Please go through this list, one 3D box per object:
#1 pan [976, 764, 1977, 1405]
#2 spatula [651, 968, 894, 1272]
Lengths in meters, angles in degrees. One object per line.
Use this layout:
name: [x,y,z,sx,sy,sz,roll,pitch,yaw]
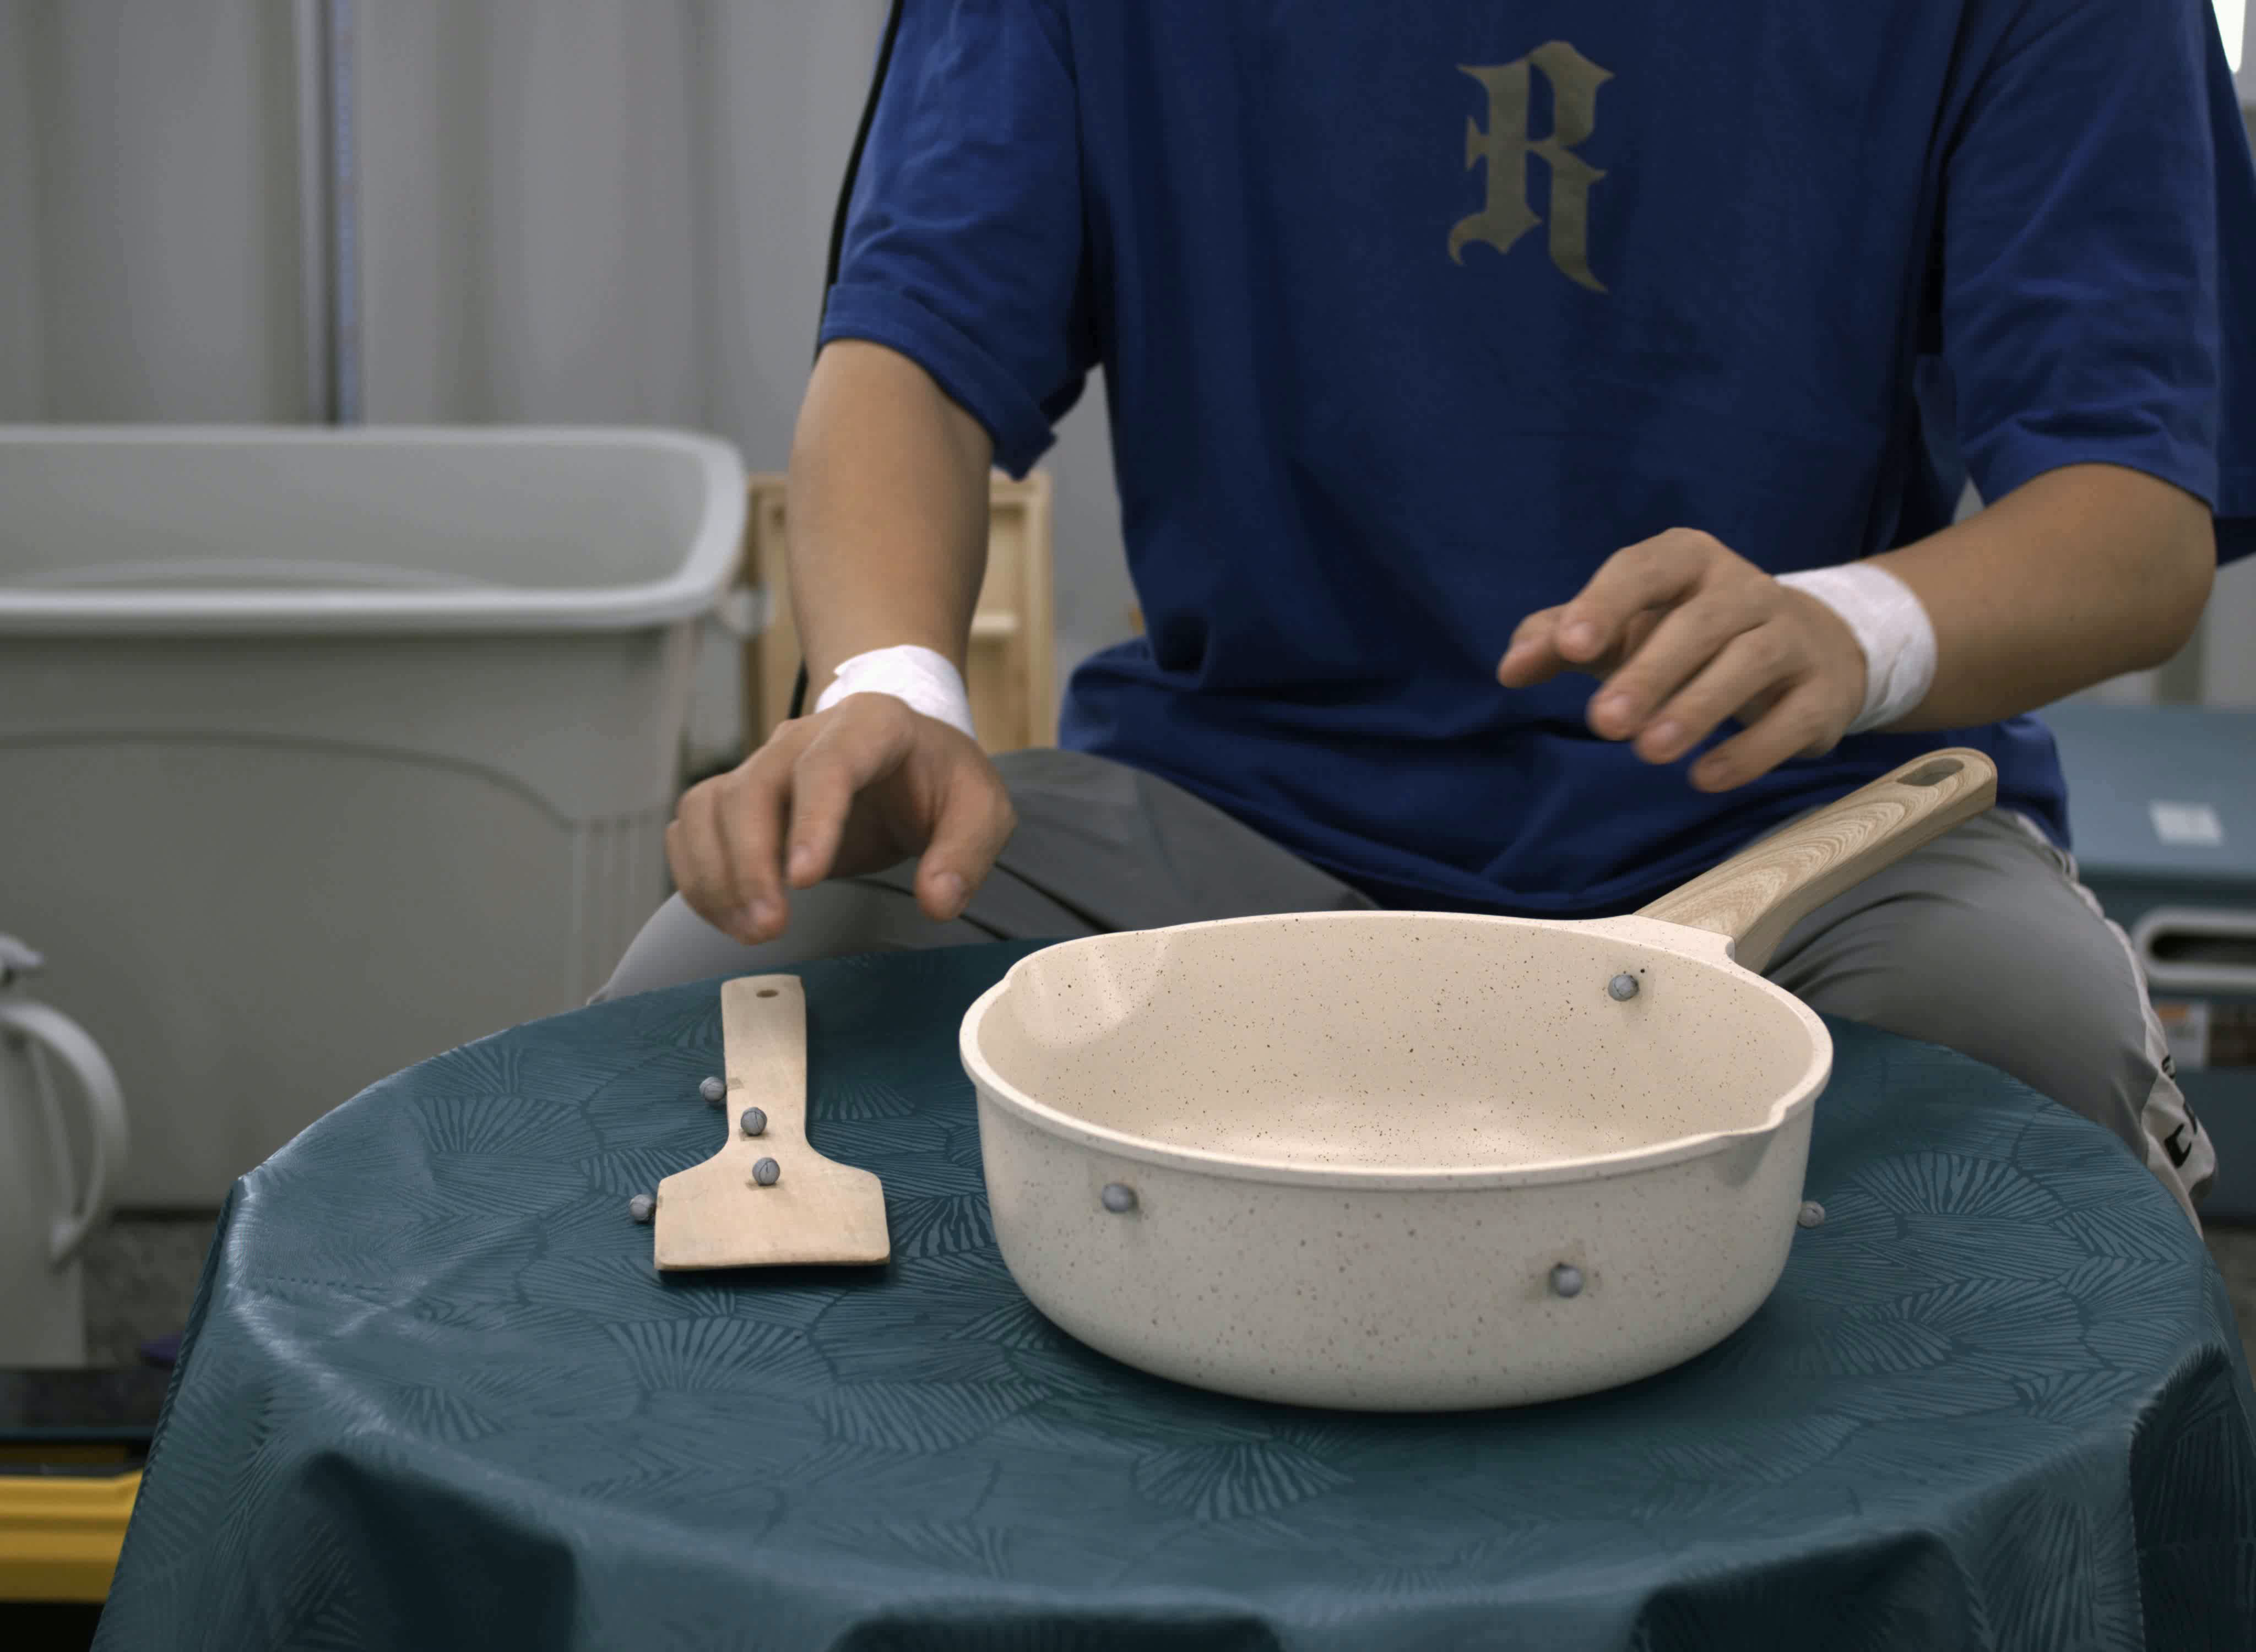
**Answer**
pan: [0.139,0.072,1.587,0.260,0.103,0.437,10,18,37]
spatula: [-0.114,0.091,1.677,0.072,0.011,0.291,-2,16,-4]
